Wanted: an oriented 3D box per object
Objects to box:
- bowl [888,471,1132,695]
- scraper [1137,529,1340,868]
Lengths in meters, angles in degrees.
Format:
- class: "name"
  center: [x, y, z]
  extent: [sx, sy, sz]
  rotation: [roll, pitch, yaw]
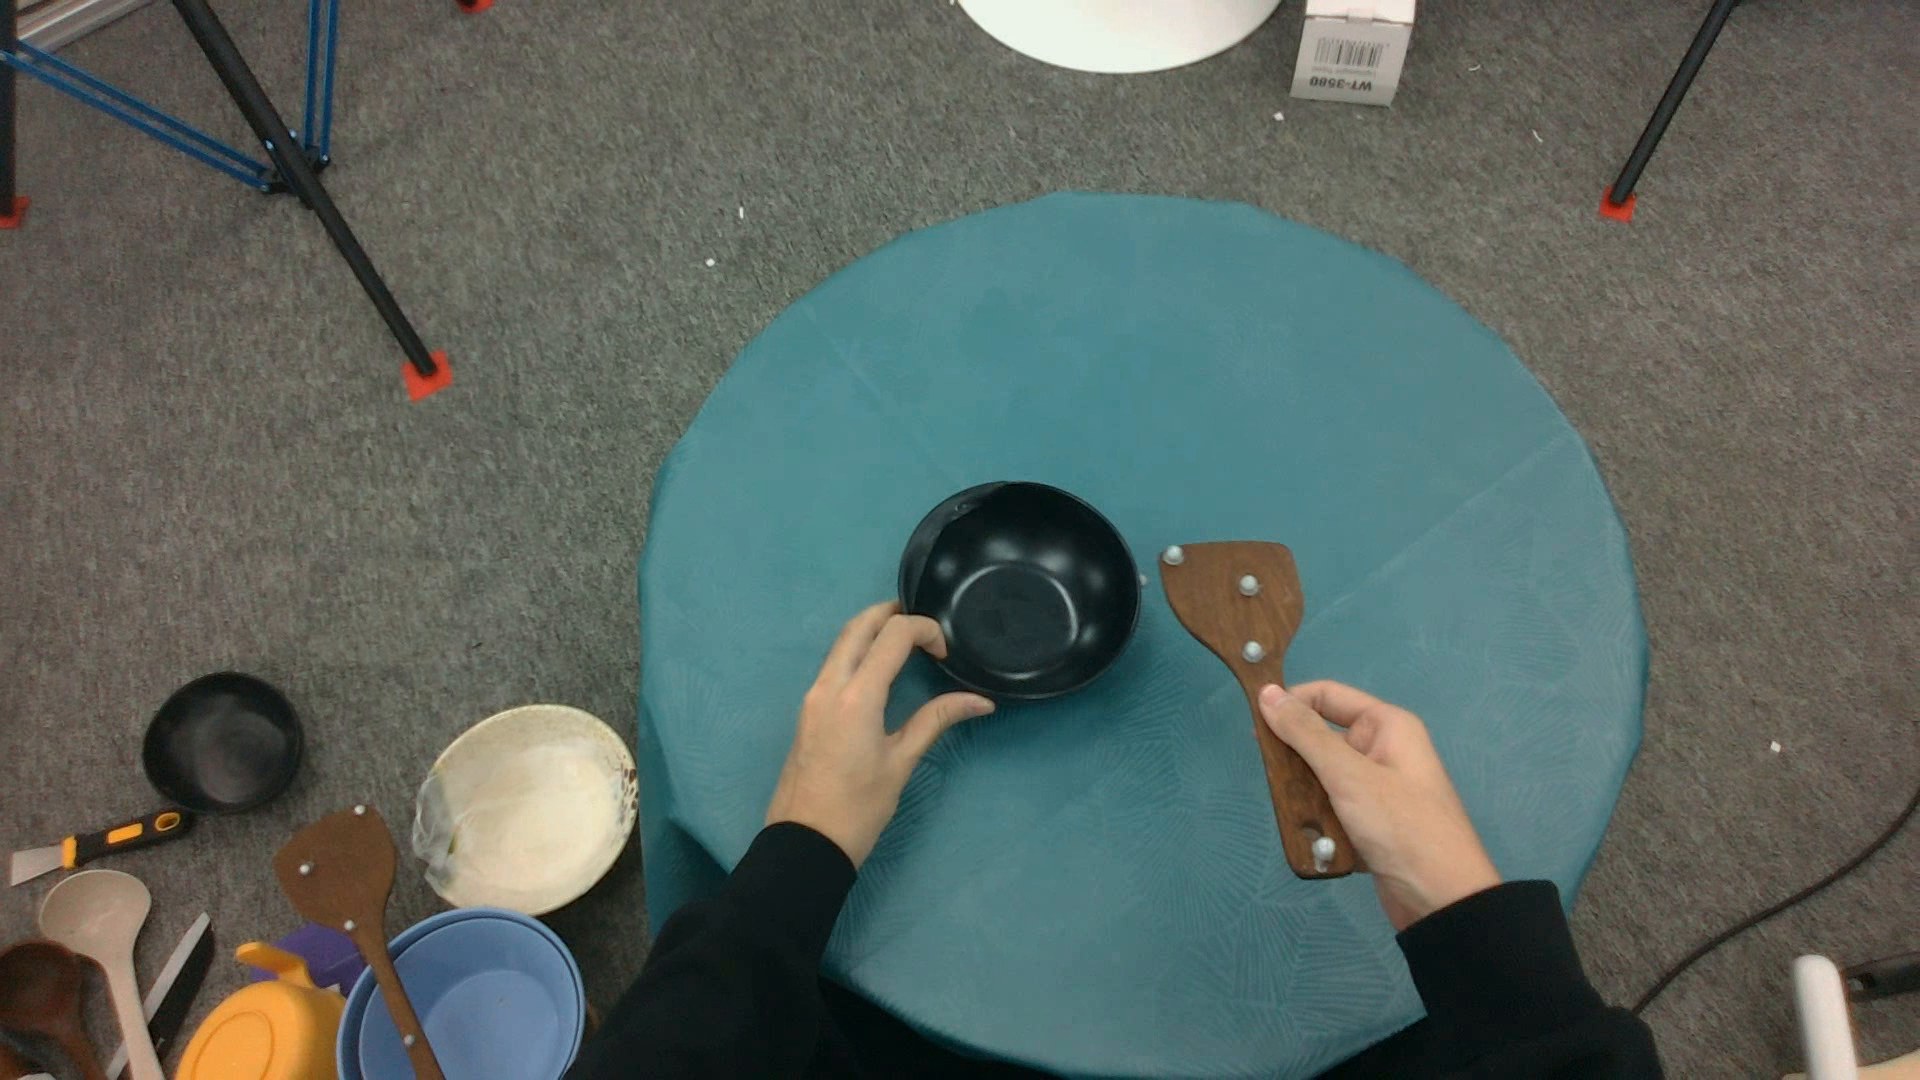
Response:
- class: "bowl"
  center: [0.026, 0.031, 0.790]
  extent: [0.140, 0.049, 0.140]
  rotation: [4, 59, -7]
- class: "scraper"
  center: [0.138, 0.067, 0.656]
  extent: [0.076, 0.011, 0.212]
  rotation: [-3, 41, -4]
